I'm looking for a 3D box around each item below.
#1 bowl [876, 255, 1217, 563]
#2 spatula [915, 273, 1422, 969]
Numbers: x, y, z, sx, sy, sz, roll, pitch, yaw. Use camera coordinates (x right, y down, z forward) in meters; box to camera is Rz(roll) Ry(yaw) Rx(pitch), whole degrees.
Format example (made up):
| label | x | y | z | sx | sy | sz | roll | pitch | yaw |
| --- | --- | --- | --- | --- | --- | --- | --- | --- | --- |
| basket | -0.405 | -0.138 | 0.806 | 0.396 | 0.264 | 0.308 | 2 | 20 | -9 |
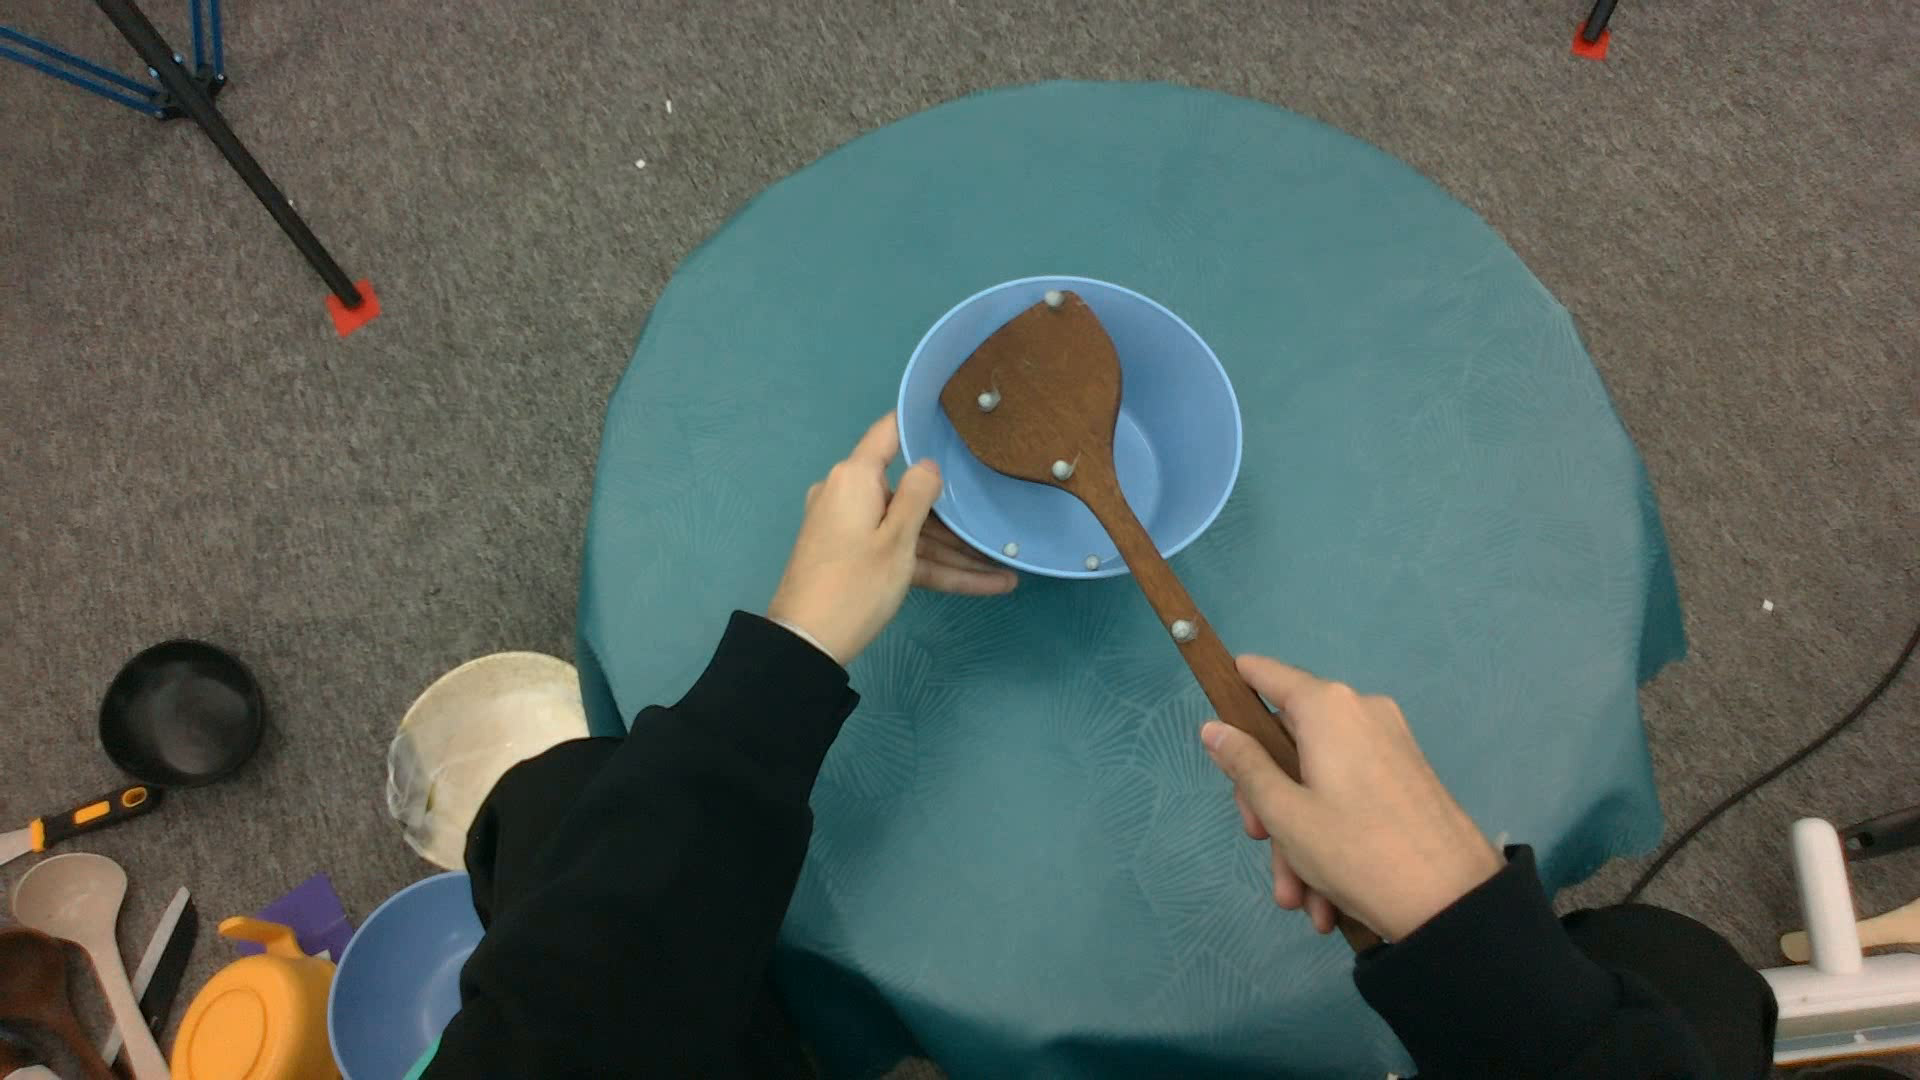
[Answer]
| label | x | y | z | sx | sy | sz | roll | pitch | yaw |
| --- | --- | --- | --- | --- | --- | --- | --- | --- | --- |
| bowl | 0.042 | -0.058 | 0.725 | 0.176 | 0.070 | 0.176 | 2 | 66 | -5 |
| spatula | 0.086 | 0.019 | 0.618 | 0.096 | 0.016 | 0.387 | -39 | 54 | 13 |
